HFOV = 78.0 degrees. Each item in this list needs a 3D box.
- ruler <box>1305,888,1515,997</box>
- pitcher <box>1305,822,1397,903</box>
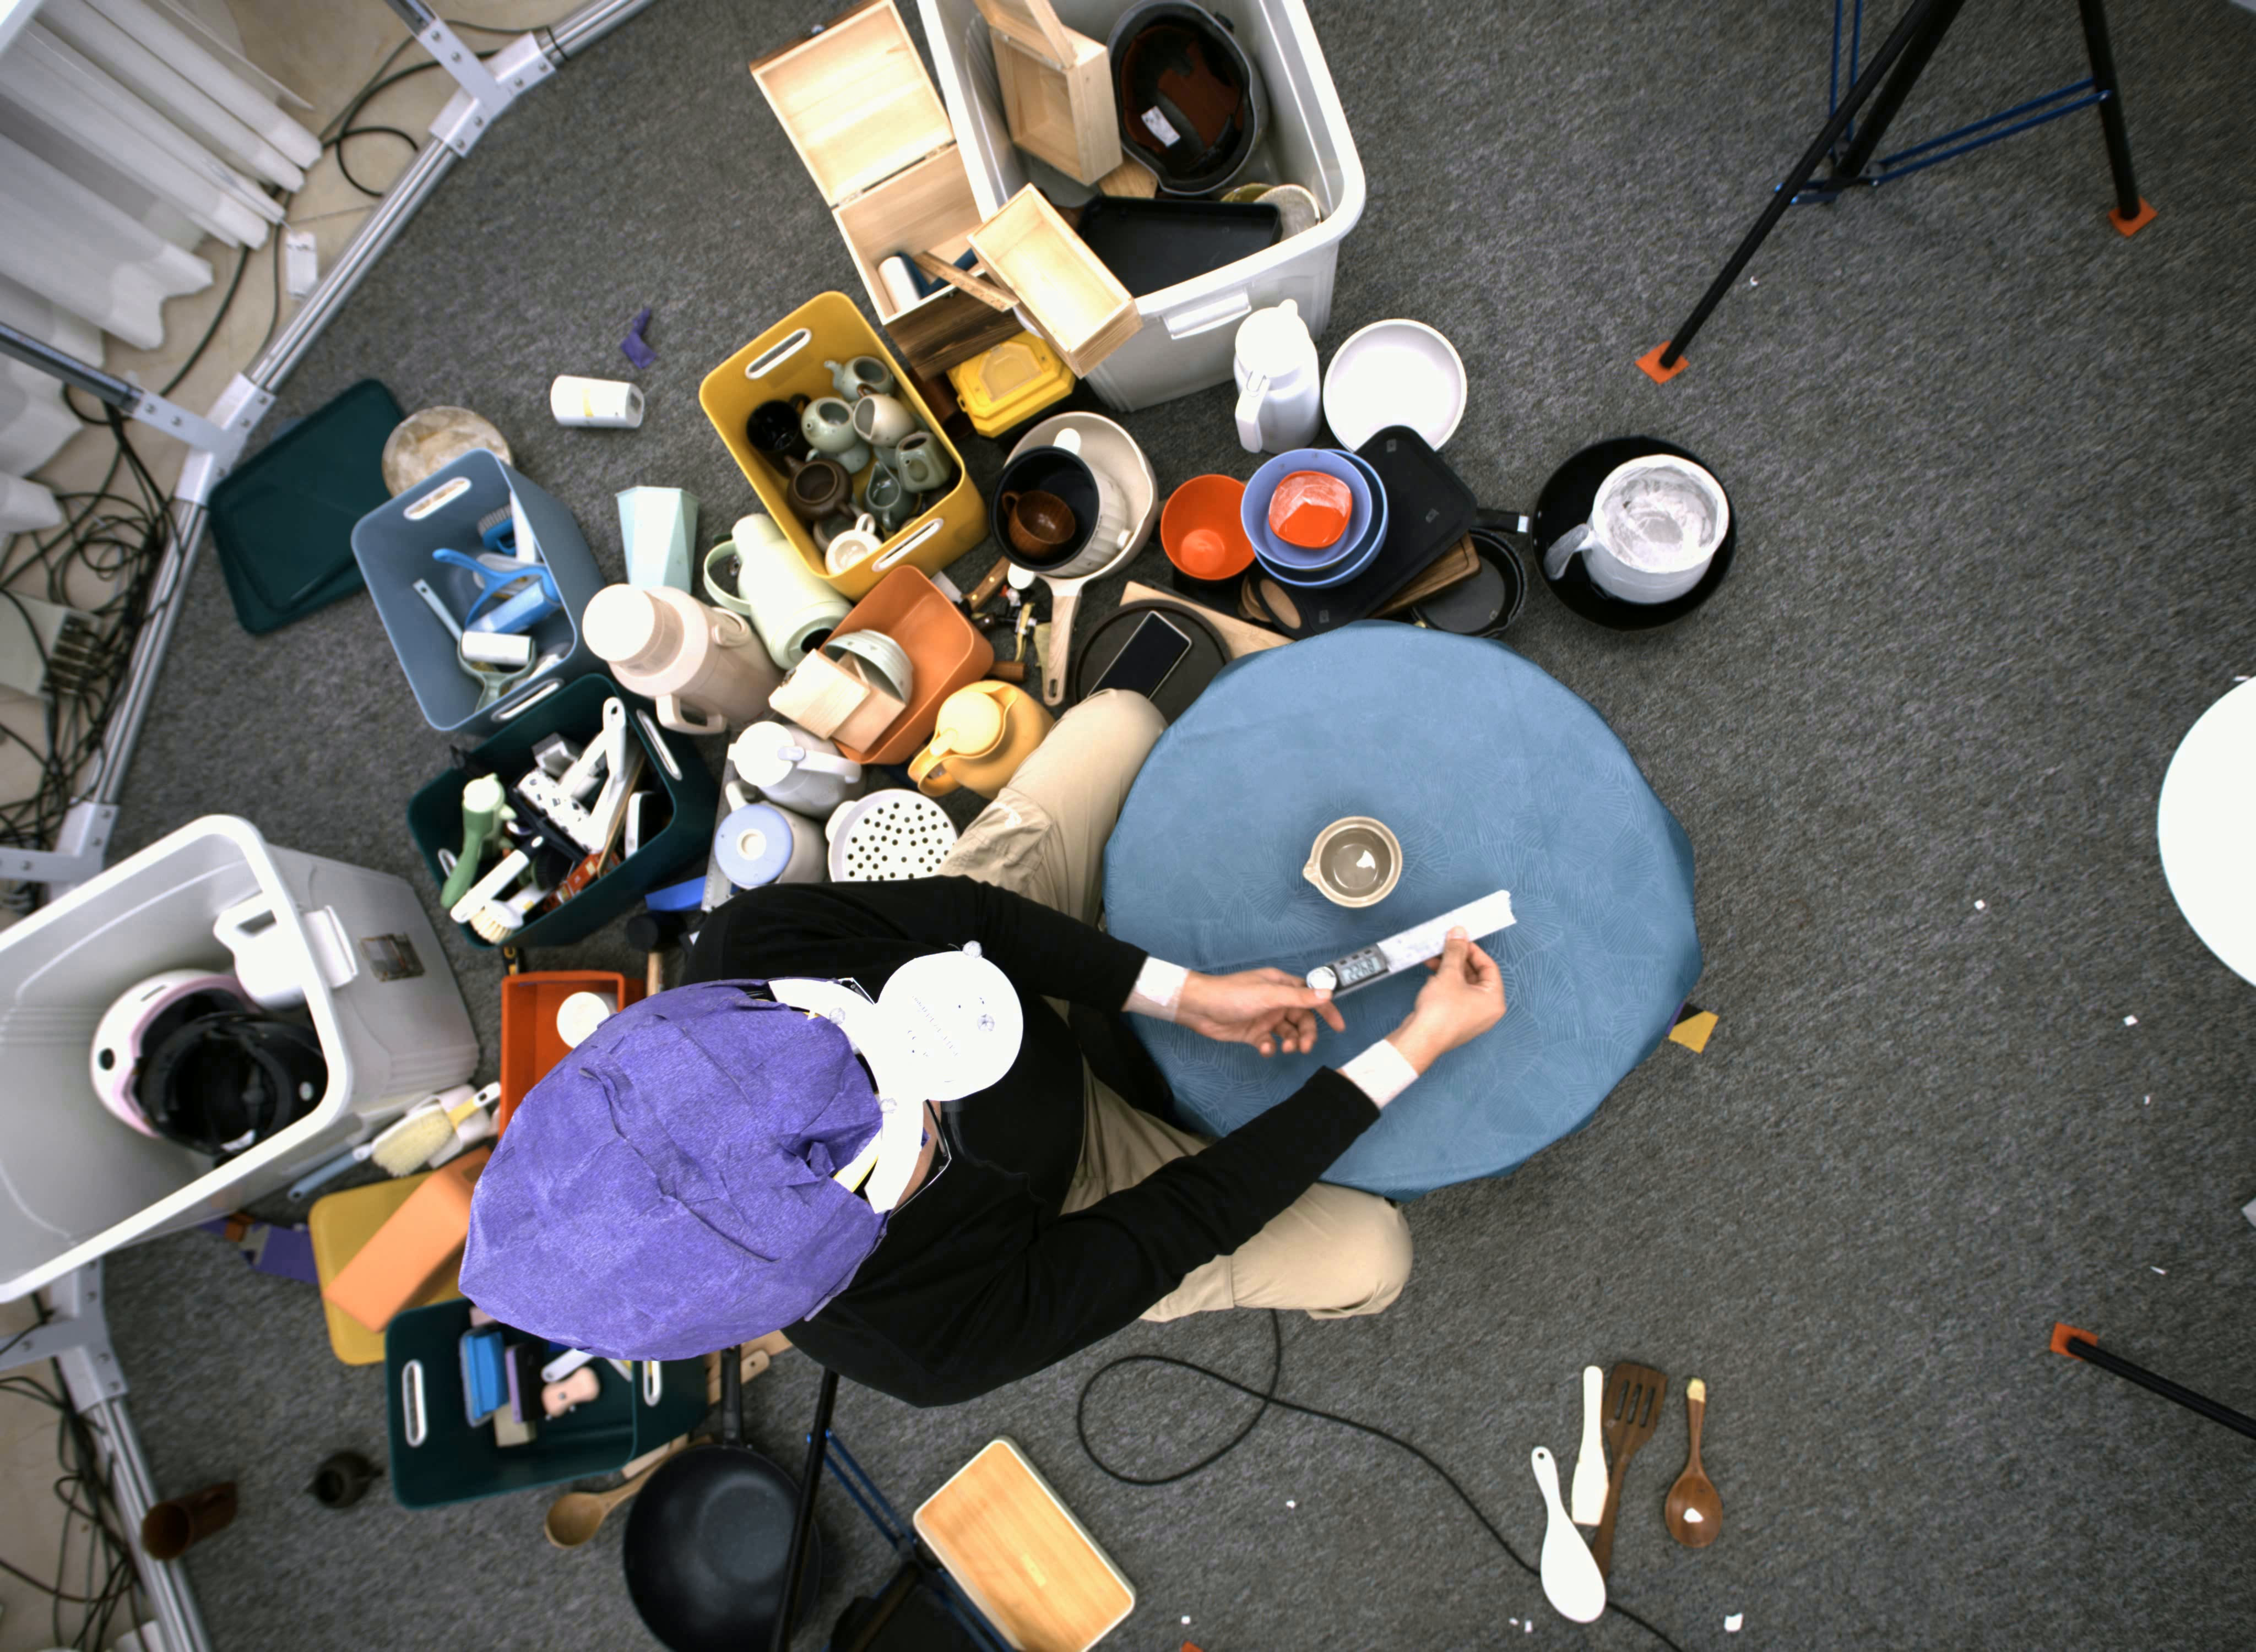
[{"bbox_3d":[0.280,0.118,1.386,0.220,0.024,0.038,-24,79,11],"label":"ruler"},{"bbox_3d":[0.231,0.039,1.432,0.096,0.071,0.083,-14,84,8],"label":"pitcher"}]
